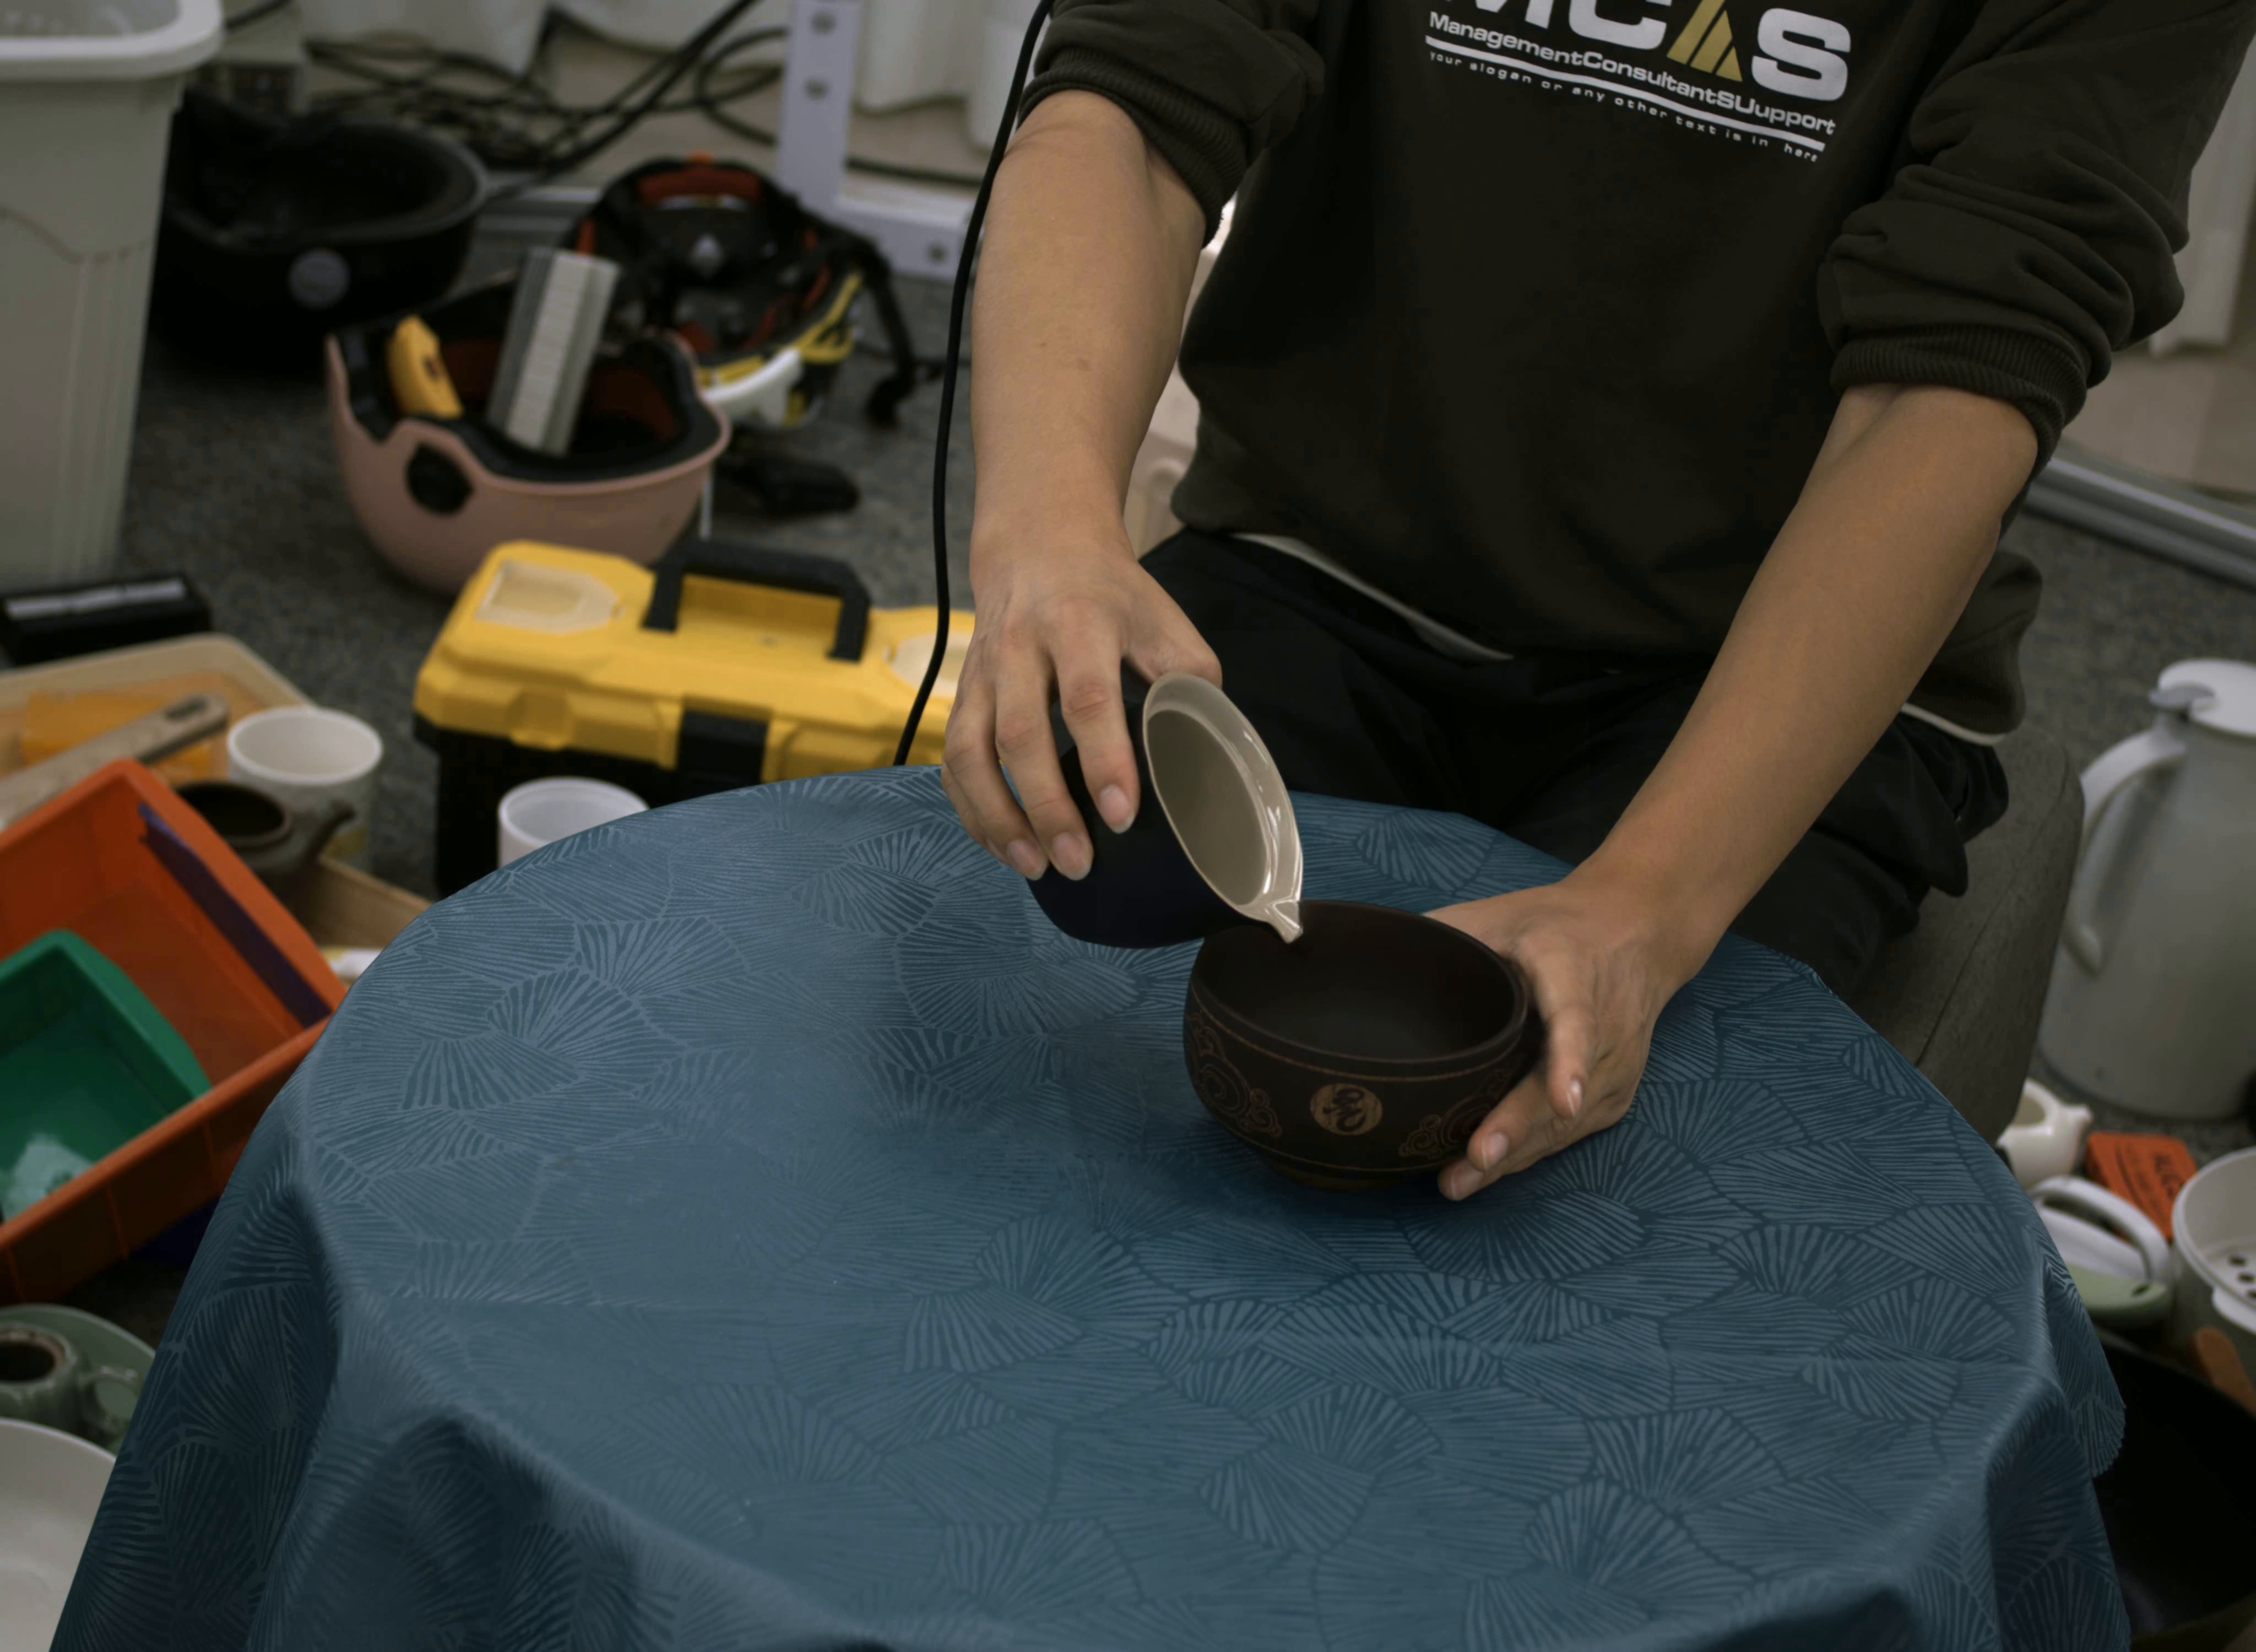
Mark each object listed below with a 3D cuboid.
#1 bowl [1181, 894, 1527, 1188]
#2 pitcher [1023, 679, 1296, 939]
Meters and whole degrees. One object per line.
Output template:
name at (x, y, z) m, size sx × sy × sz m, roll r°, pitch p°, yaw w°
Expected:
bowl at (0.076, 0.081, 1.832) m, size 0.117 × 0.069 × 0.119 m, roll 3°, pitch 29°, yaw -2°
pitcher at (0.008, 0.004, 1.832) m, size 0.071 × 0.096 × 0.083 m, roll -26°, pitch -3°, yaw 26°
